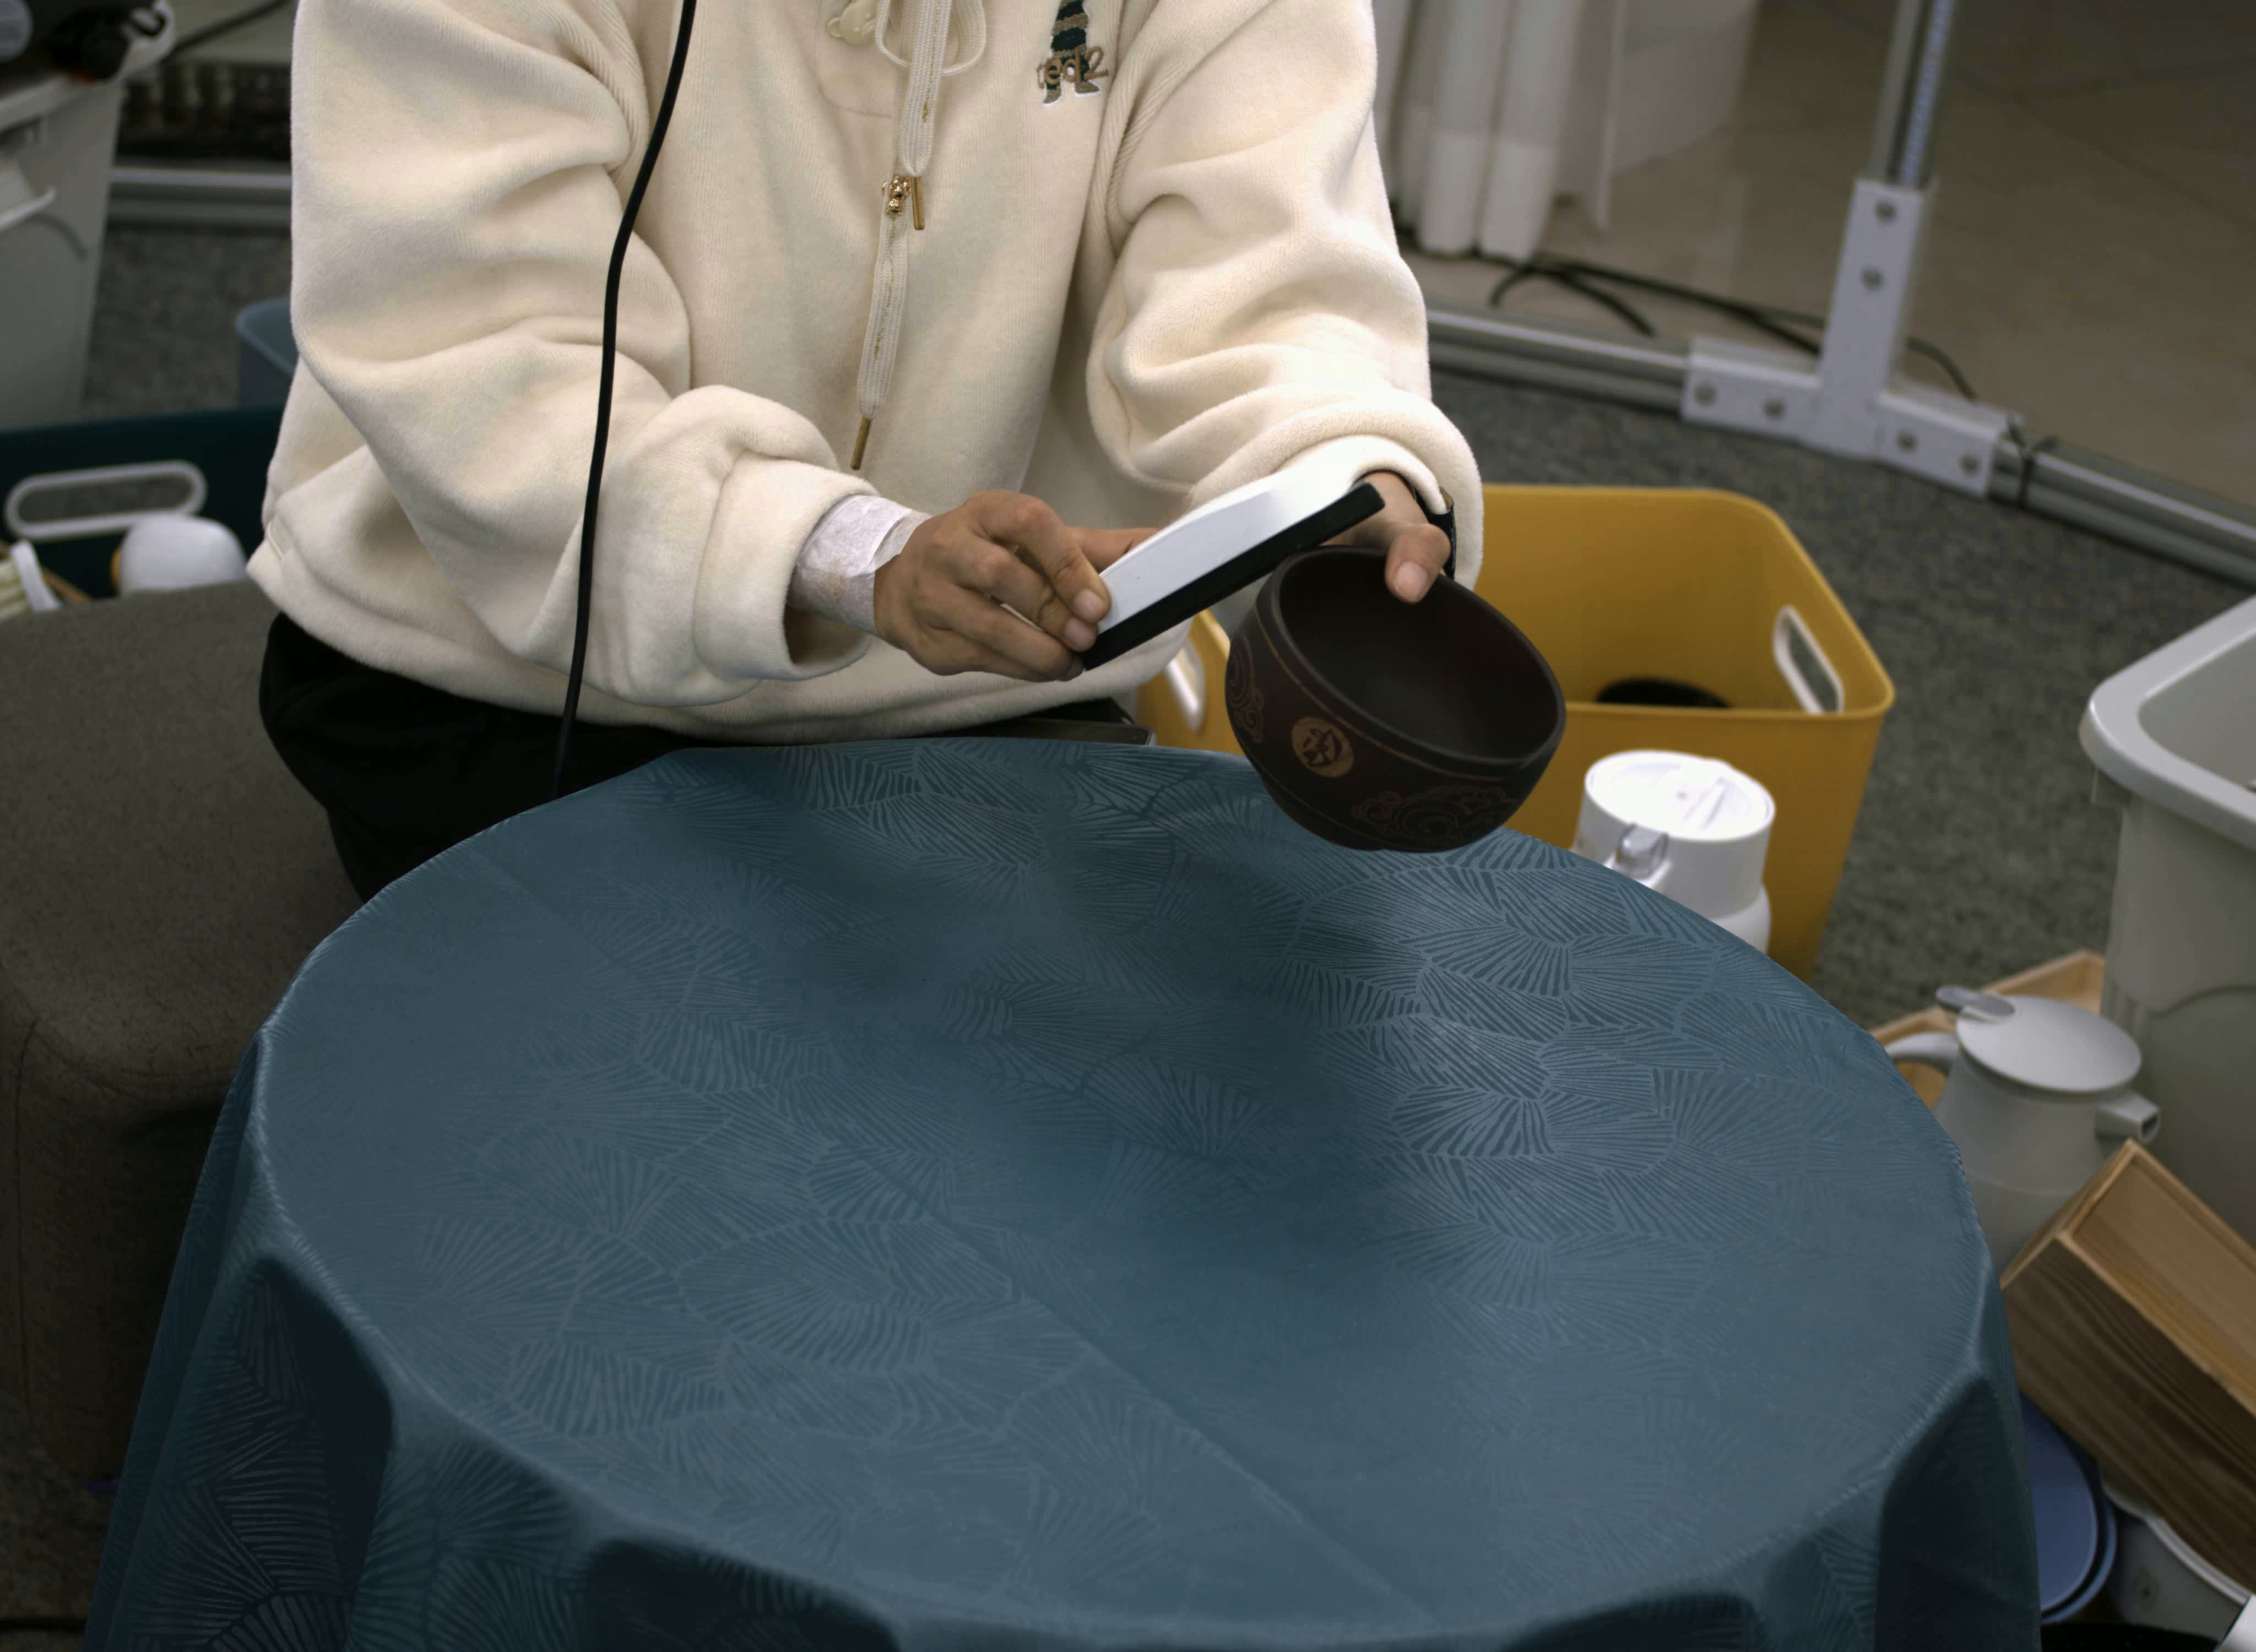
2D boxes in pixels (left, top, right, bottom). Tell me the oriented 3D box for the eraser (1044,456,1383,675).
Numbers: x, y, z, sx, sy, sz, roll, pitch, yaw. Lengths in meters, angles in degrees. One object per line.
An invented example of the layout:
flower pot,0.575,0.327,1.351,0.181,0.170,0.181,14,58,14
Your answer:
eraser,0.030,-0.096,1.905,0.131,0.034,0.063,-27,1,39

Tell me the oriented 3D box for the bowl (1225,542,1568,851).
bowl,0.086,-0.036,1.847,0.117,0.070,0.119,21,31,-14
